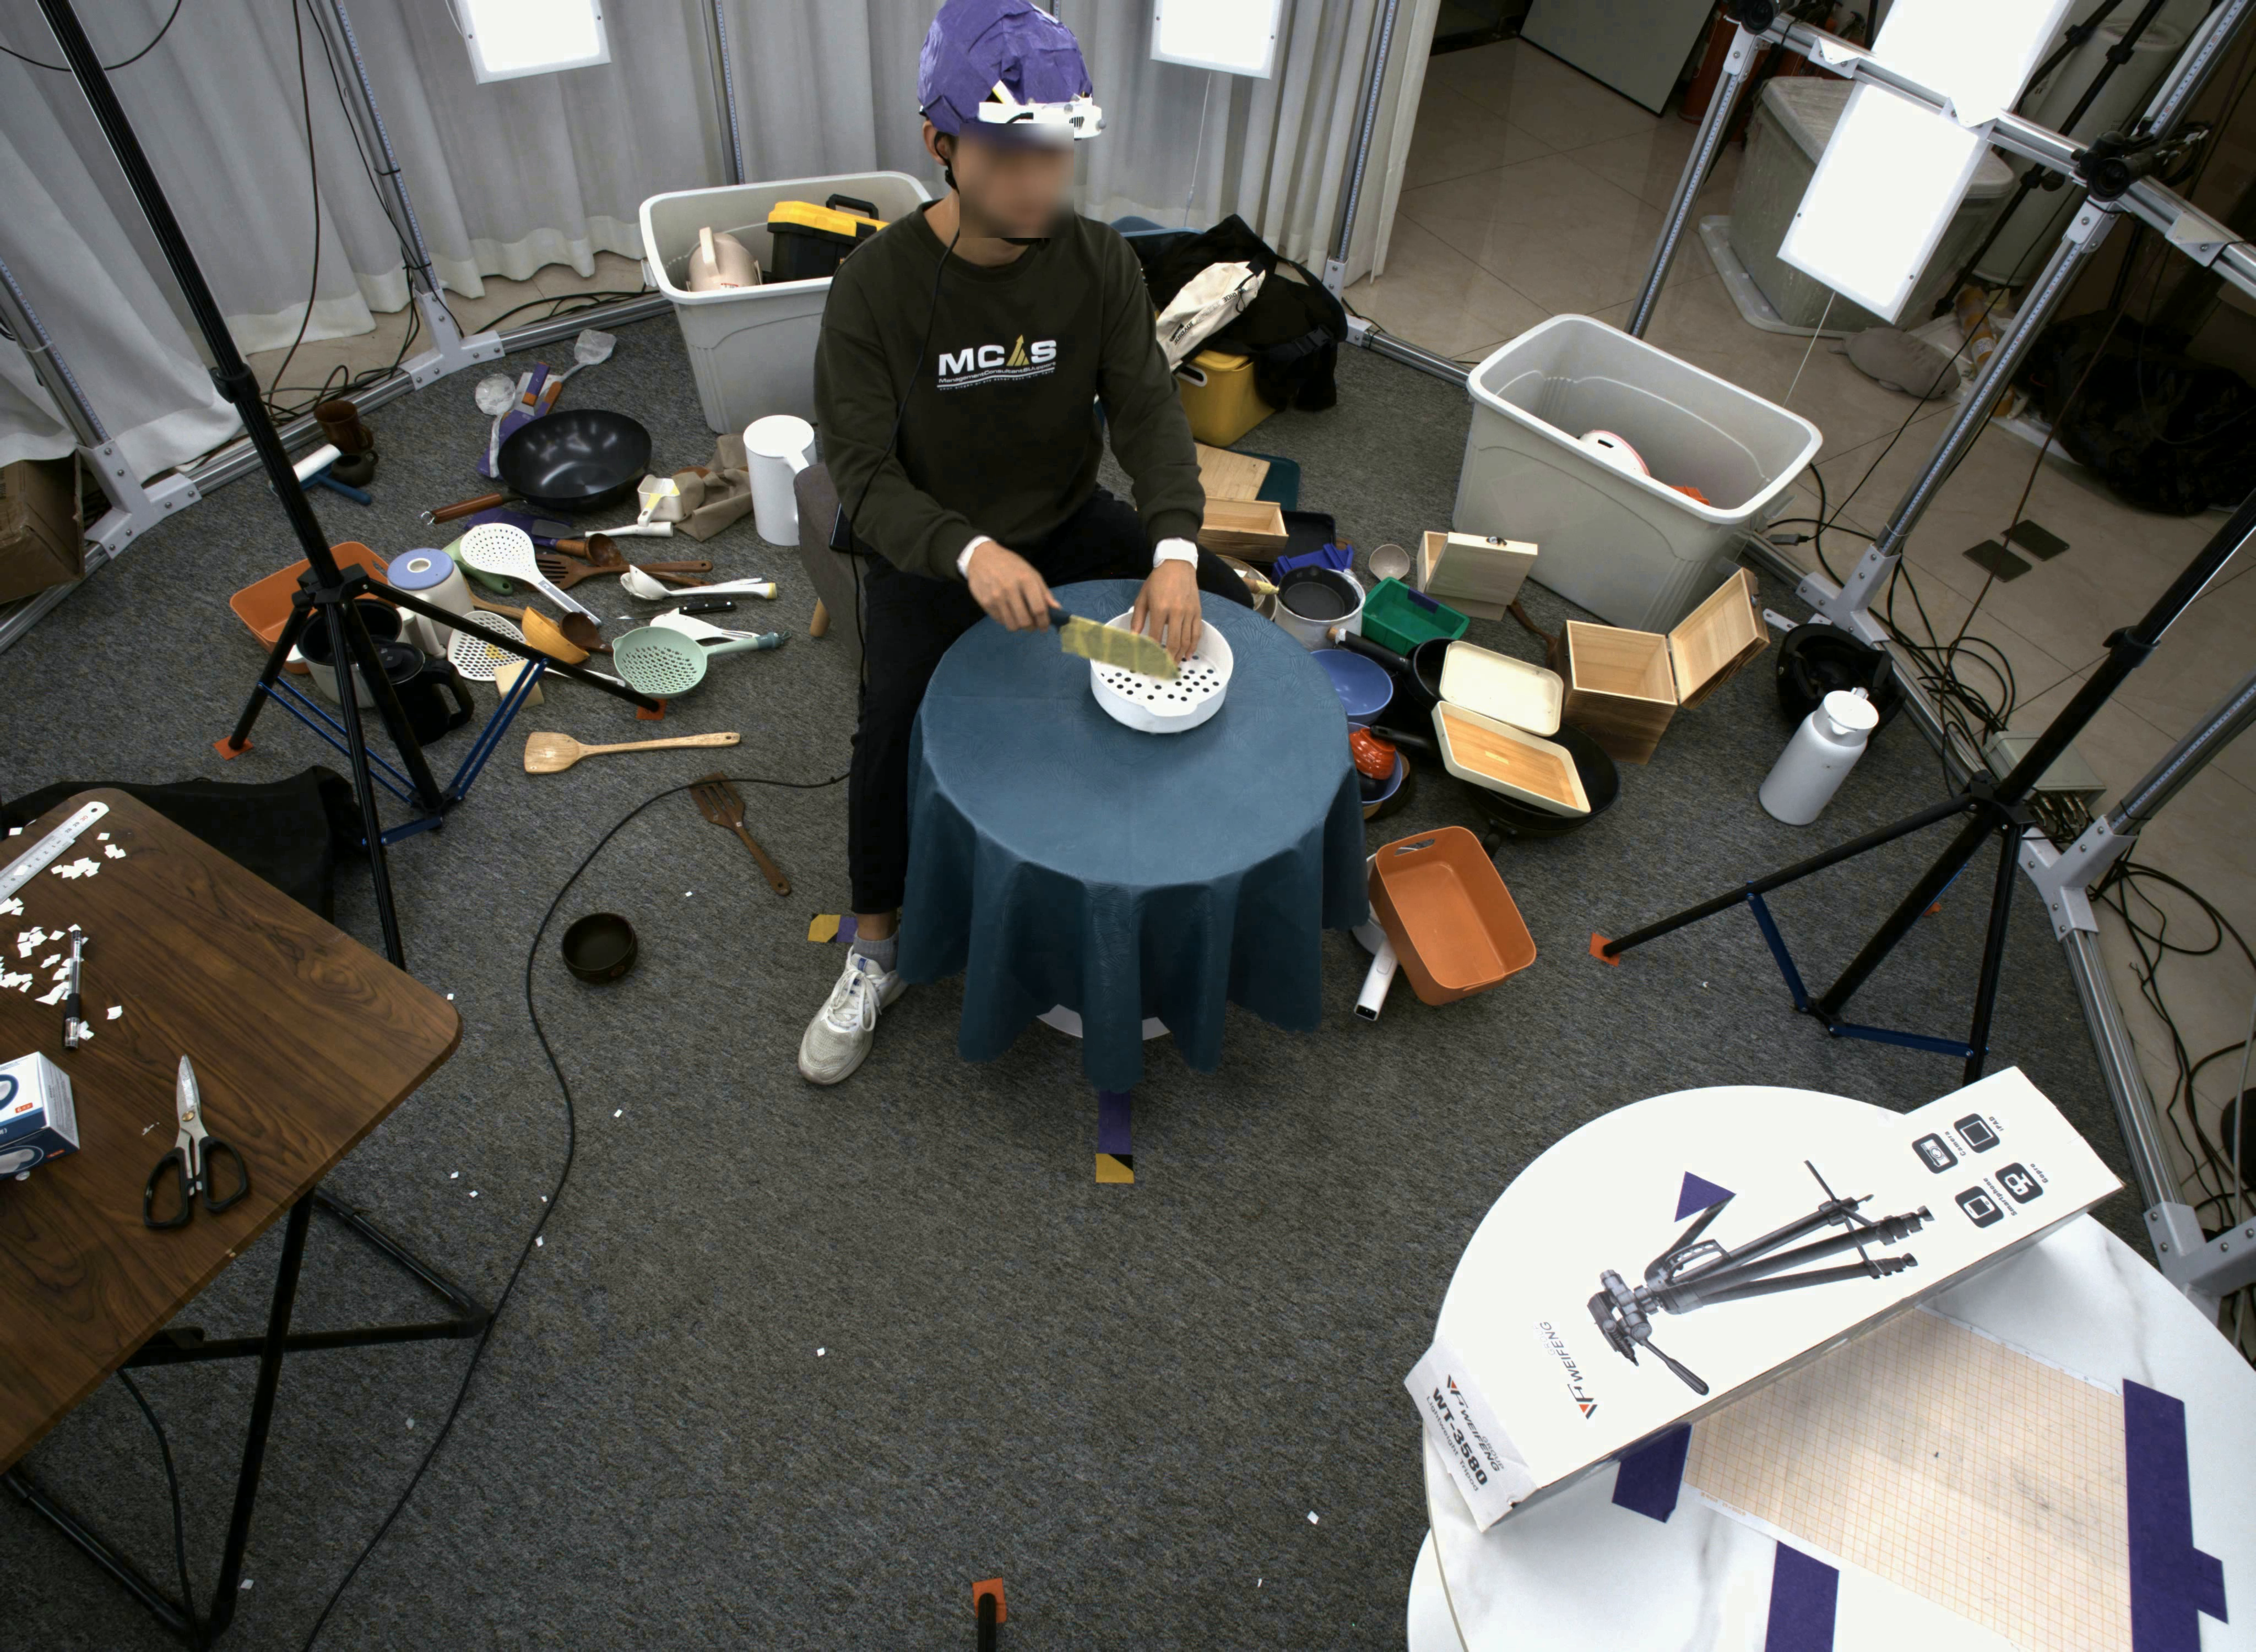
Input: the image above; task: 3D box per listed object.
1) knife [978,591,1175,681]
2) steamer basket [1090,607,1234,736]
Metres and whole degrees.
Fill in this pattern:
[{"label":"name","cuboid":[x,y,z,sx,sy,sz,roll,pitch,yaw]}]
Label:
[{"label":"knife","cuboid":[-0.069,-0.253,1.717,0.291,0.079,0.028,22,53,14]},{"label":"steamer basket","cuboid":[0.046,-0.215,1.813,0.201,0.067,0.236,-2,48,-7]}]
